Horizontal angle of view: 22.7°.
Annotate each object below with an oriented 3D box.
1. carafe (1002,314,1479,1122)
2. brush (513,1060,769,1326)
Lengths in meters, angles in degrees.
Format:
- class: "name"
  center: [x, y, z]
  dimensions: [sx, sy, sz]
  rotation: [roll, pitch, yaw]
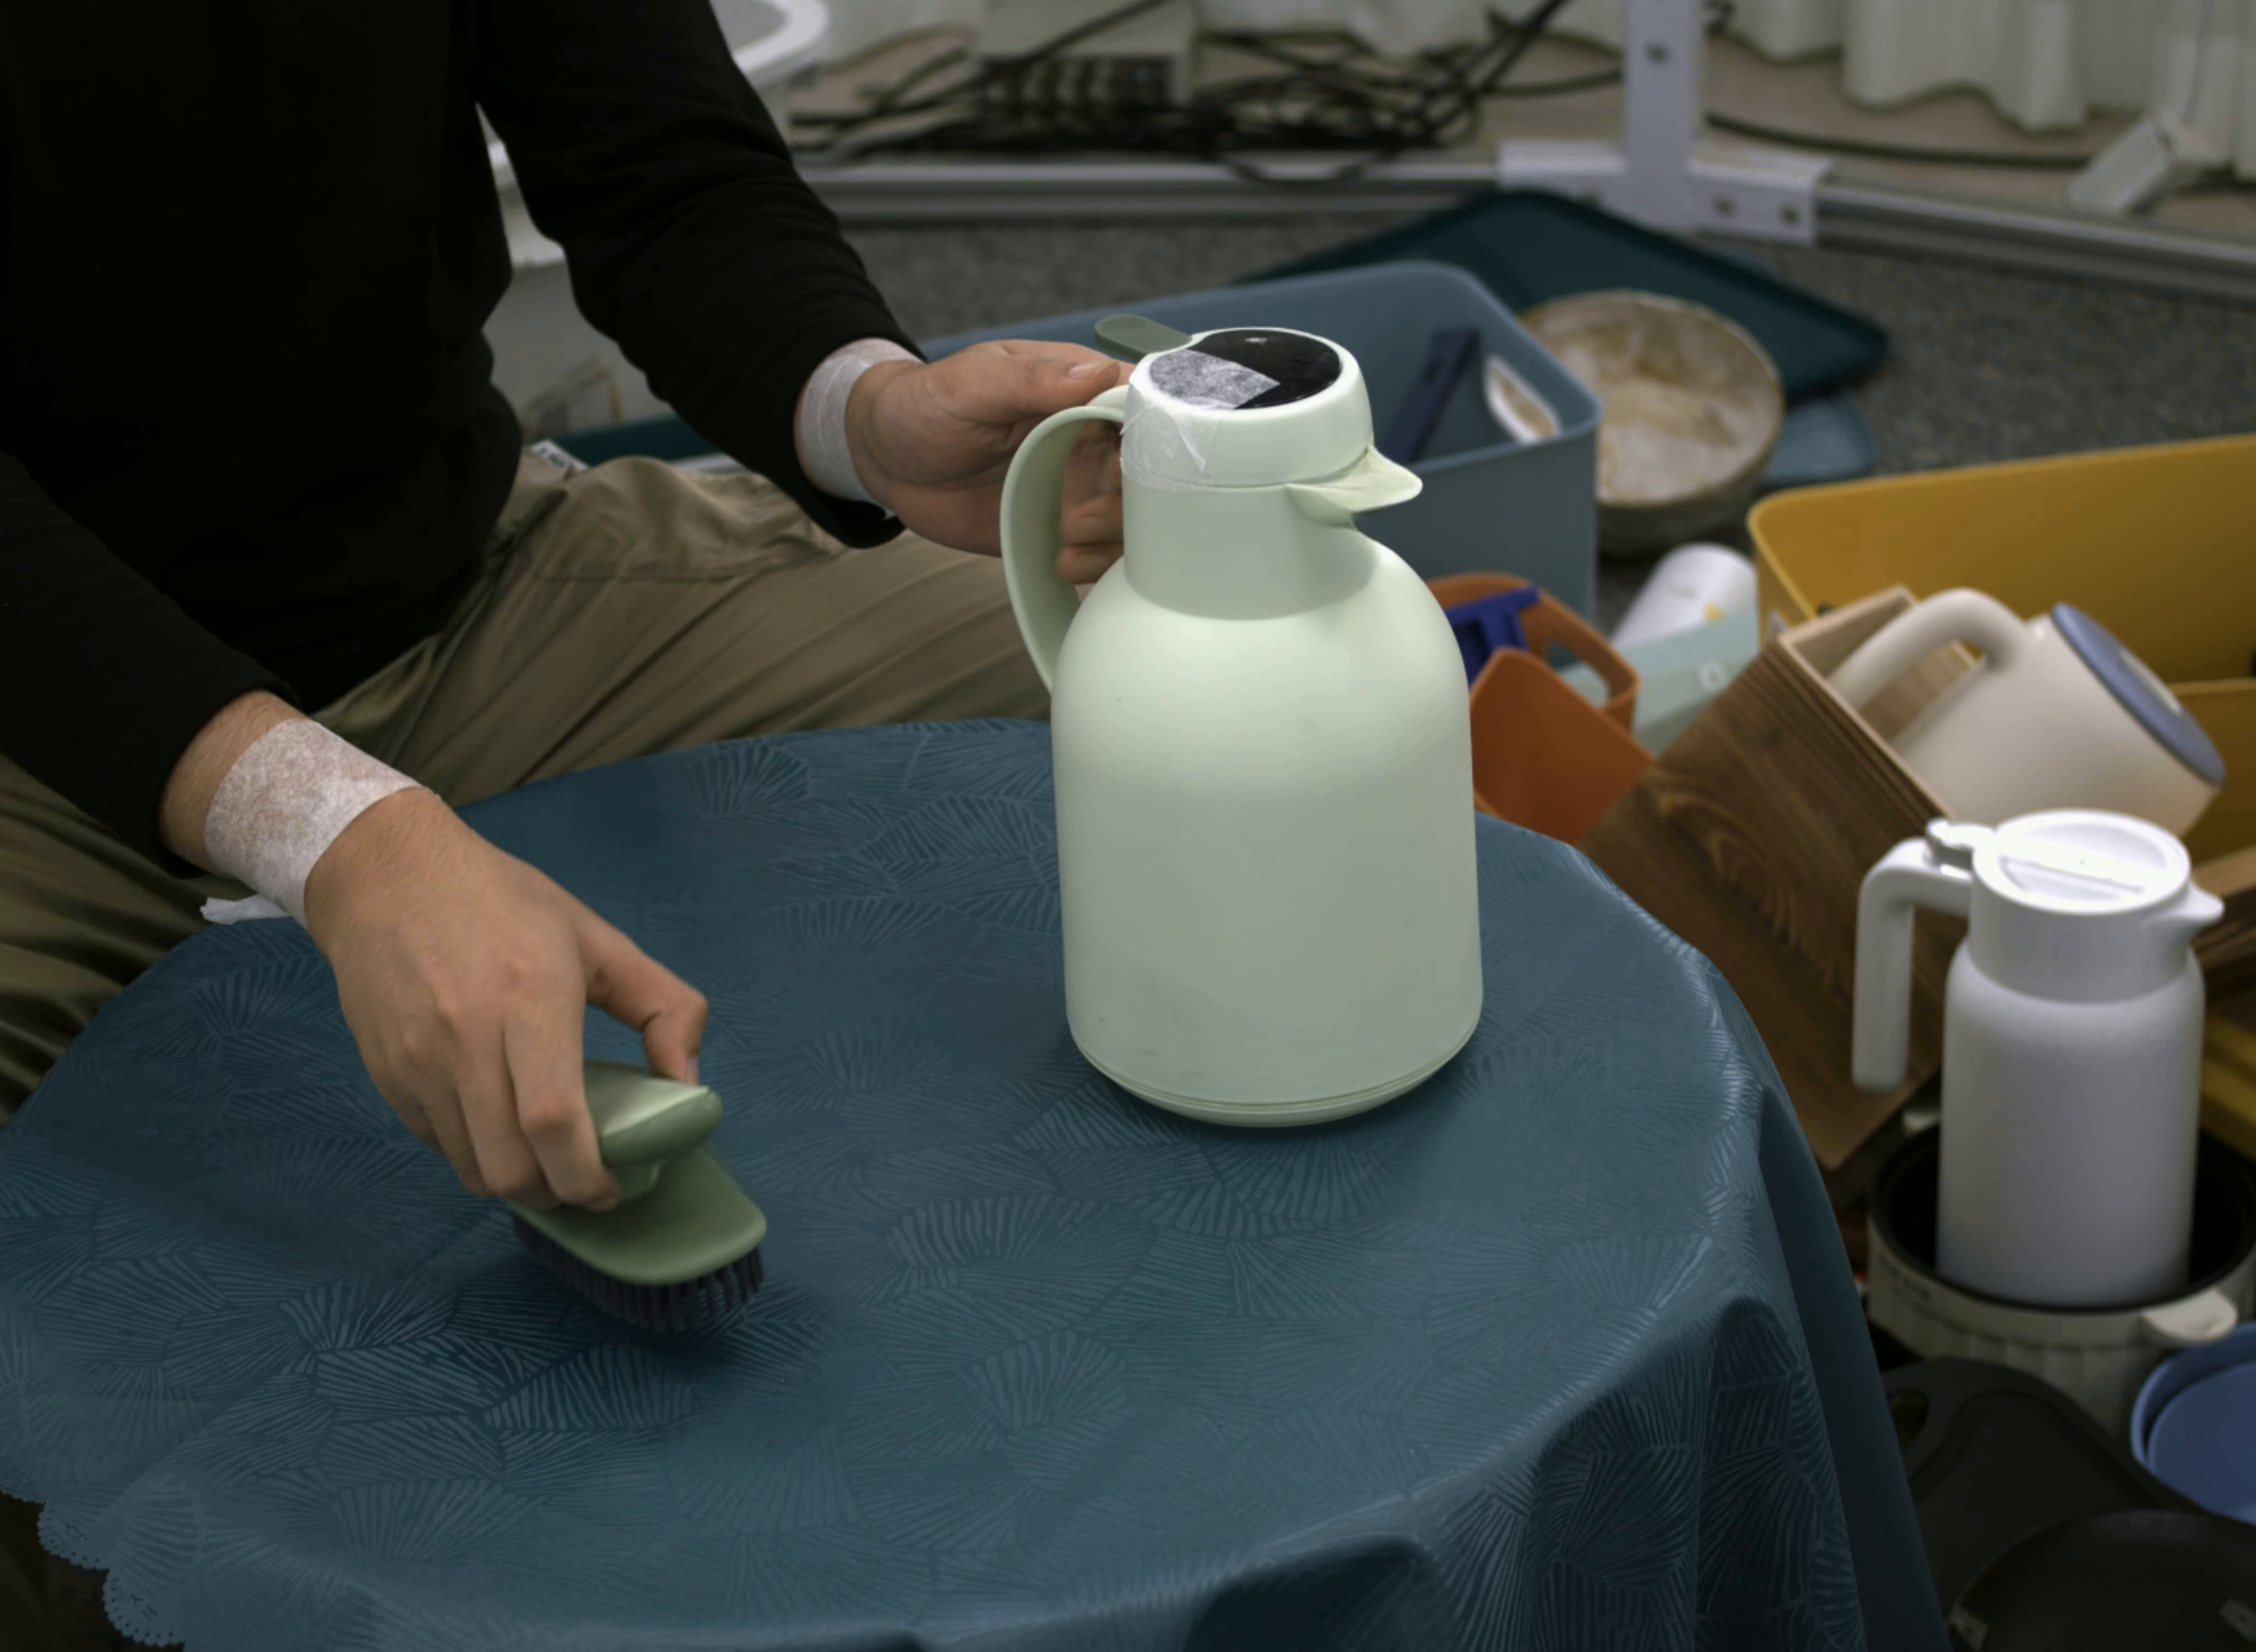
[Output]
- class: "carafe"
  center: [0.033, -0.043, 1.900]
  dimensions: [0.146, 0.254, 0.186]
  rotation: [-26, 32, -38]
- class: "brush"
  center: [-0.157, 0.115, 1.797]
  dimensions: [0.060, 0.075, 0.122]
  rotation: [-21, 10, -24]
